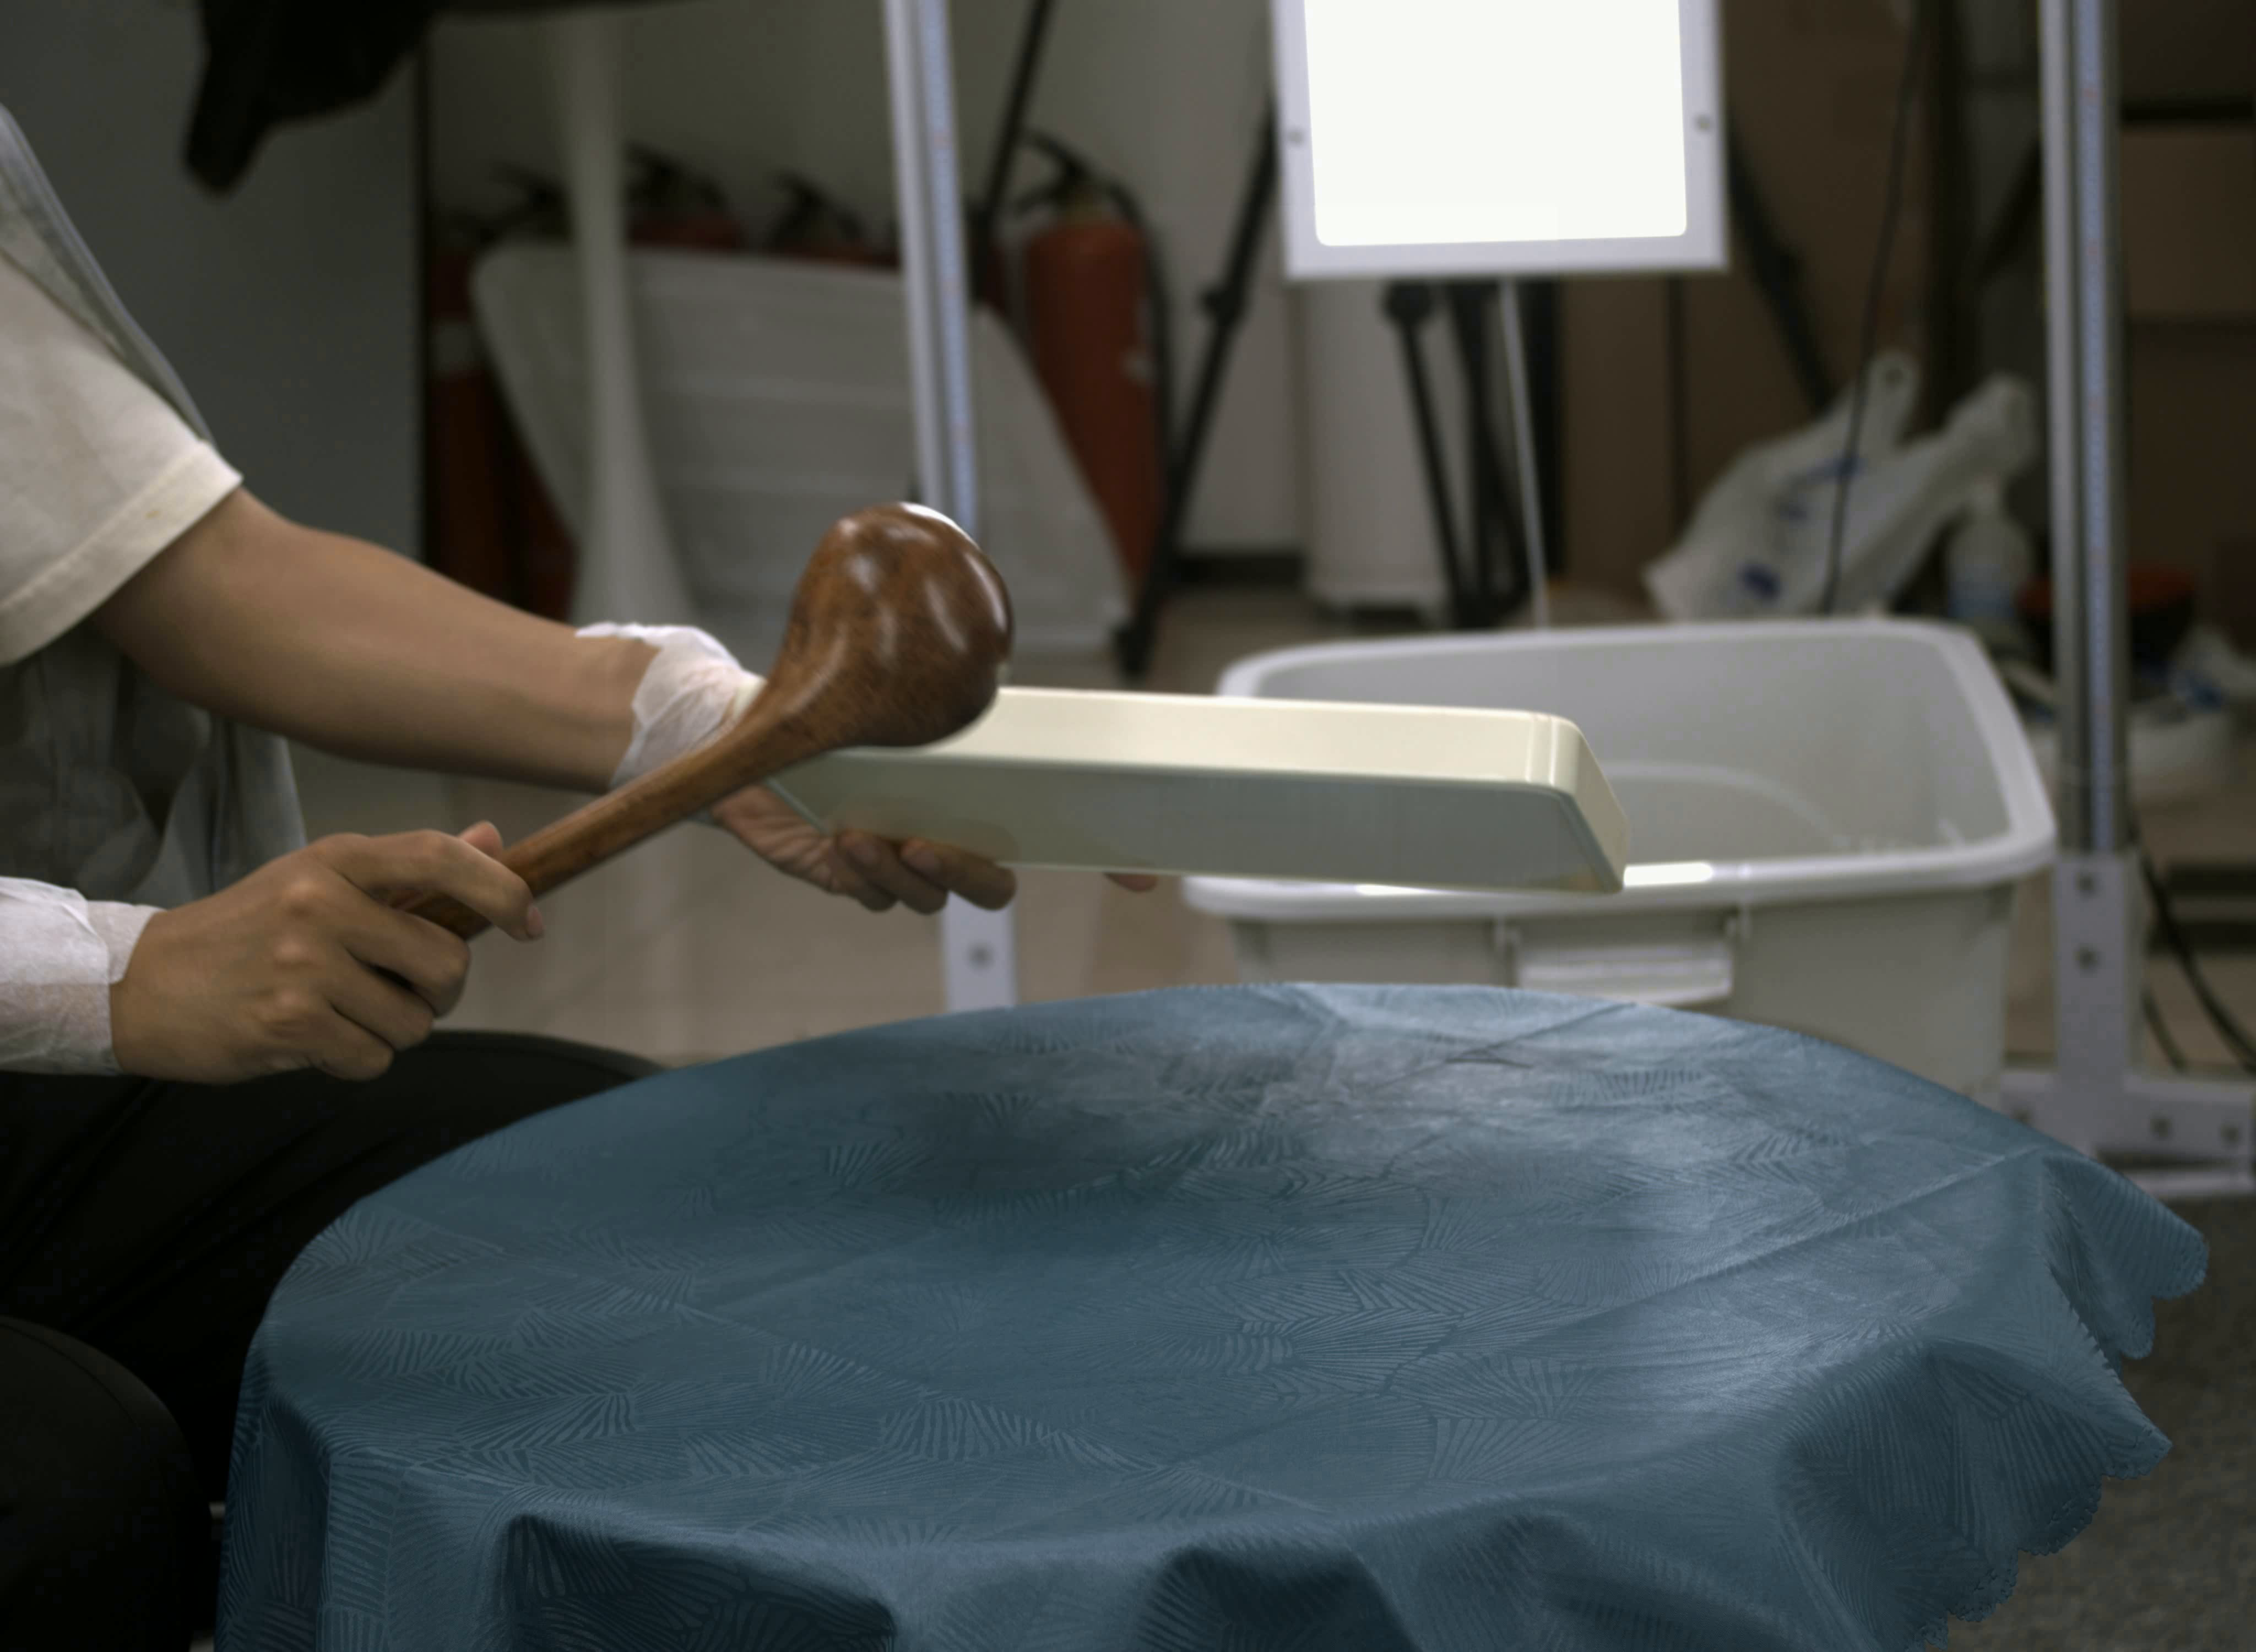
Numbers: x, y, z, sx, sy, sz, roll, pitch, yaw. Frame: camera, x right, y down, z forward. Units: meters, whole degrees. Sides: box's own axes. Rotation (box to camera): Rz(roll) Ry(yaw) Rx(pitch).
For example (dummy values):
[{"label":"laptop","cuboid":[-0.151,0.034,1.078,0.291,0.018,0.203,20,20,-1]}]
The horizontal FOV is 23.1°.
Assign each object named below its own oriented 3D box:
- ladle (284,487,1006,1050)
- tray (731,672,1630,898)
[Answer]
[{"label":"ladle","cuboid":[-0.161,-0.017,1.813,0.277,0.081,0.076,-31,13,18]},{"label":"tray","cuboid":[0.022,-0.013,1.970,0.303,0.027,0.190,3,-13,15]}]
